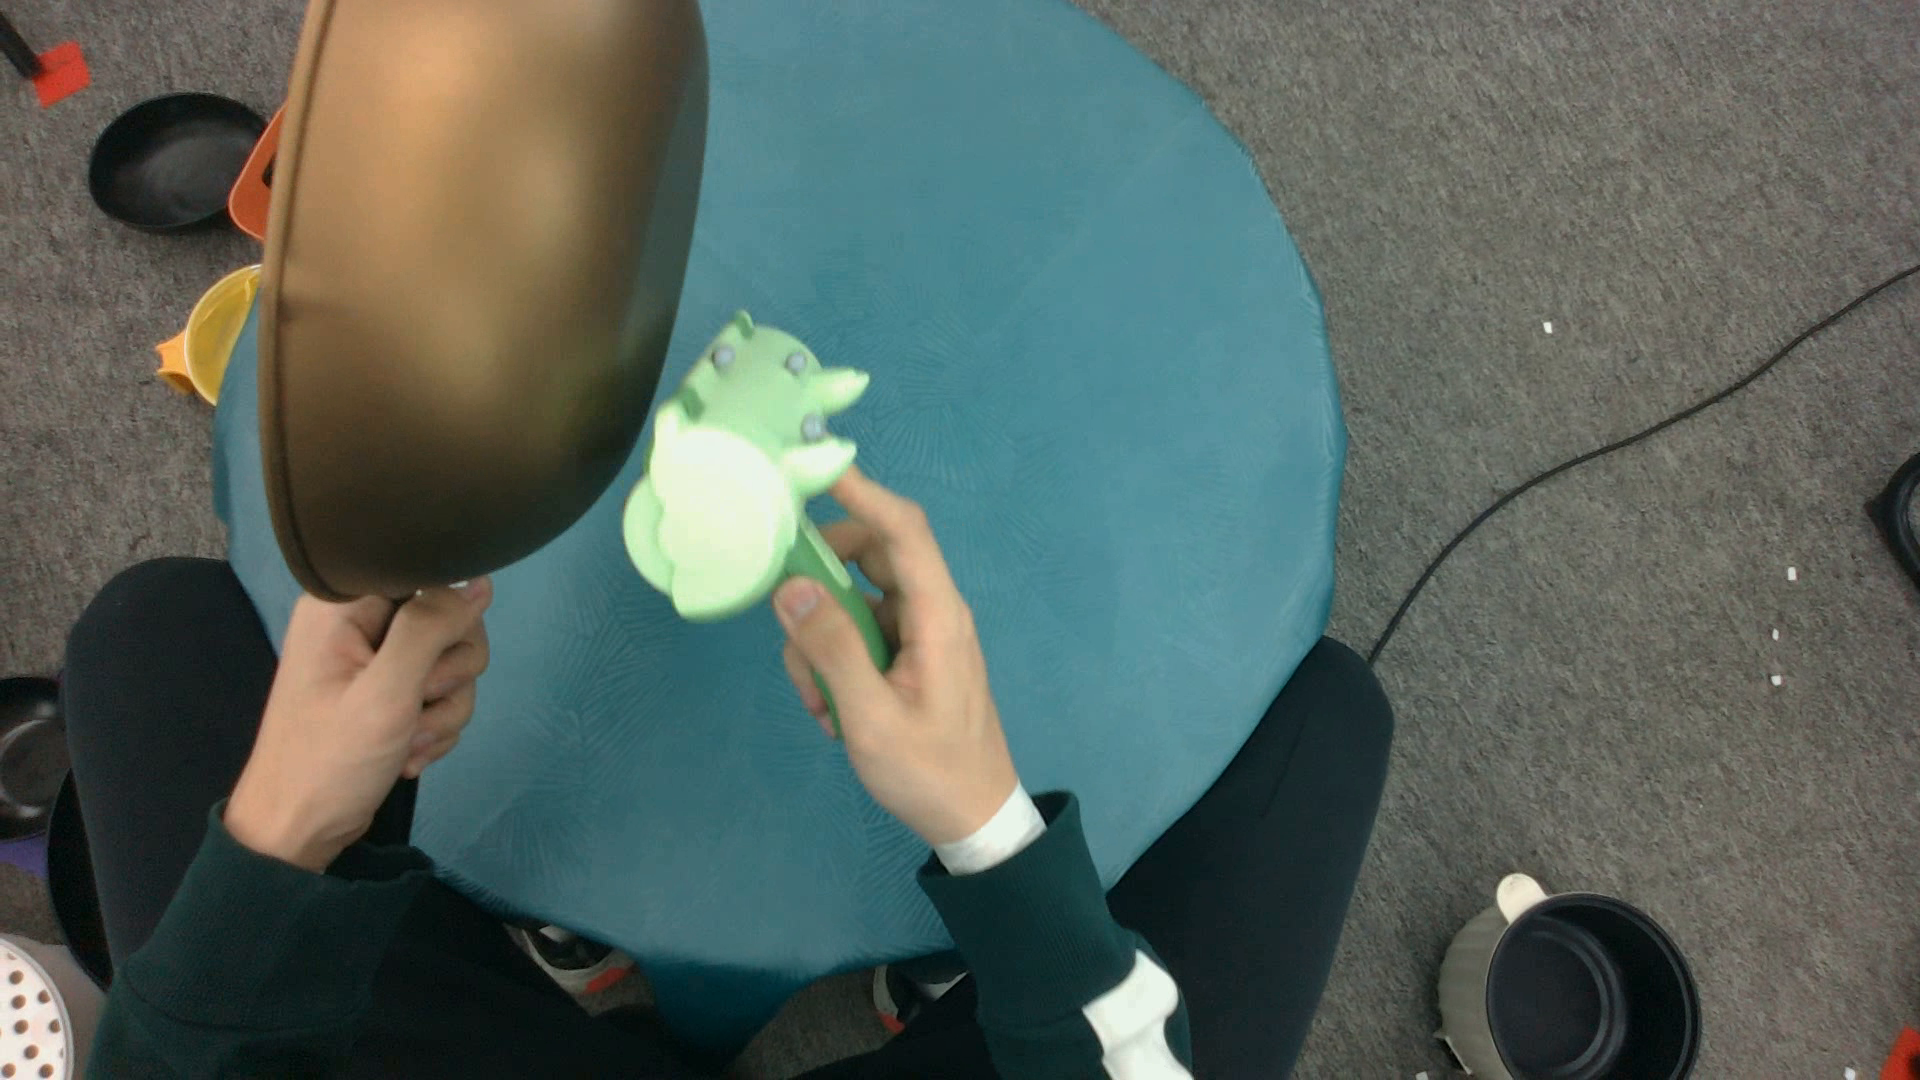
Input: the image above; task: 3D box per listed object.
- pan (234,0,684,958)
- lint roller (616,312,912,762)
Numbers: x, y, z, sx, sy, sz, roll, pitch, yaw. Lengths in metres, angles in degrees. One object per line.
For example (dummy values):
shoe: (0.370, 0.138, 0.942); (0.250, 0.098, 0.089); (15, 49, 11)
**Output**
pan: (-0.169, -0.026, 0.505); (0.087, 0.289, 0.461); (10, 112, -8)
lint roller: (-0.051, 0.002, 0.535); (0.082, 0.199, 0.183); (-34, 107, 8)
